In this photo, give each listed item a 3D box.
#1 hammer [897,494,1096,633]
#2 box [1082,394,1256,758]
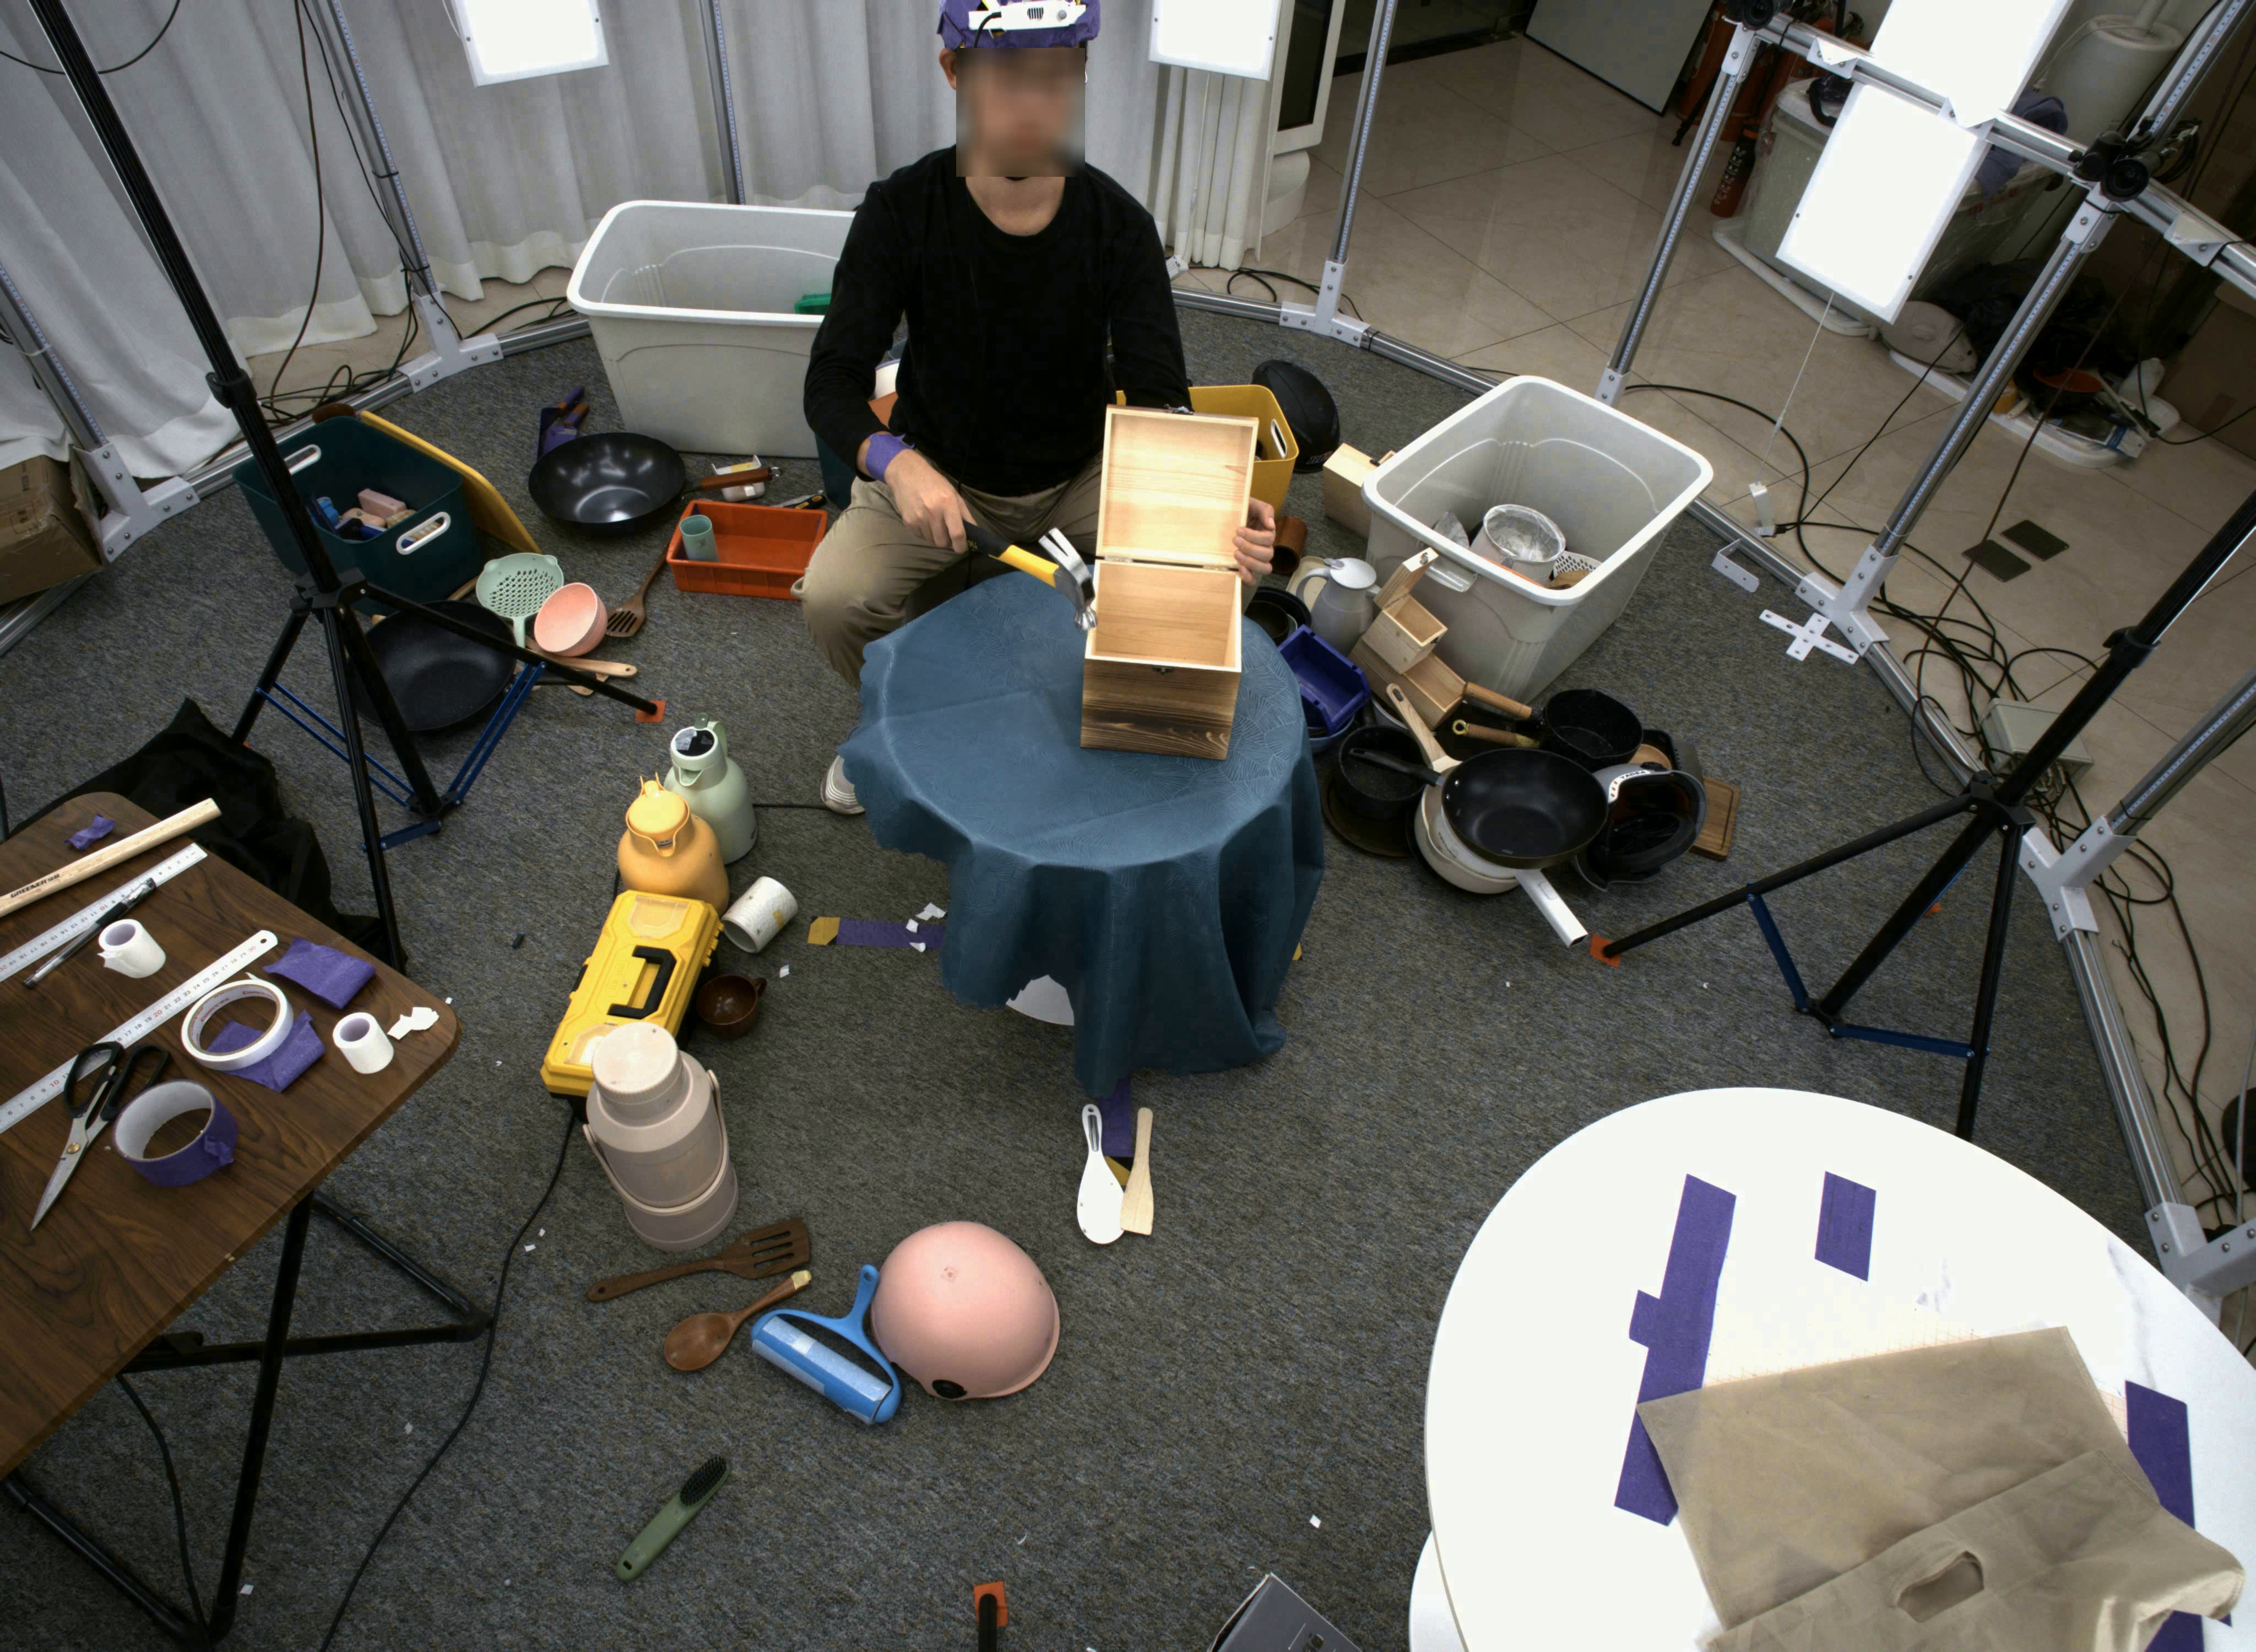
[{"bbox_3d":[-0.179,-0.367,1.692,0.343,0.128,0.032,30,60,31],"label":"hammer"},{"bbox_3d":[0.051,-0.329,1.720,0.208,0.366,0.330,5,51,0],"label":"box"}]
